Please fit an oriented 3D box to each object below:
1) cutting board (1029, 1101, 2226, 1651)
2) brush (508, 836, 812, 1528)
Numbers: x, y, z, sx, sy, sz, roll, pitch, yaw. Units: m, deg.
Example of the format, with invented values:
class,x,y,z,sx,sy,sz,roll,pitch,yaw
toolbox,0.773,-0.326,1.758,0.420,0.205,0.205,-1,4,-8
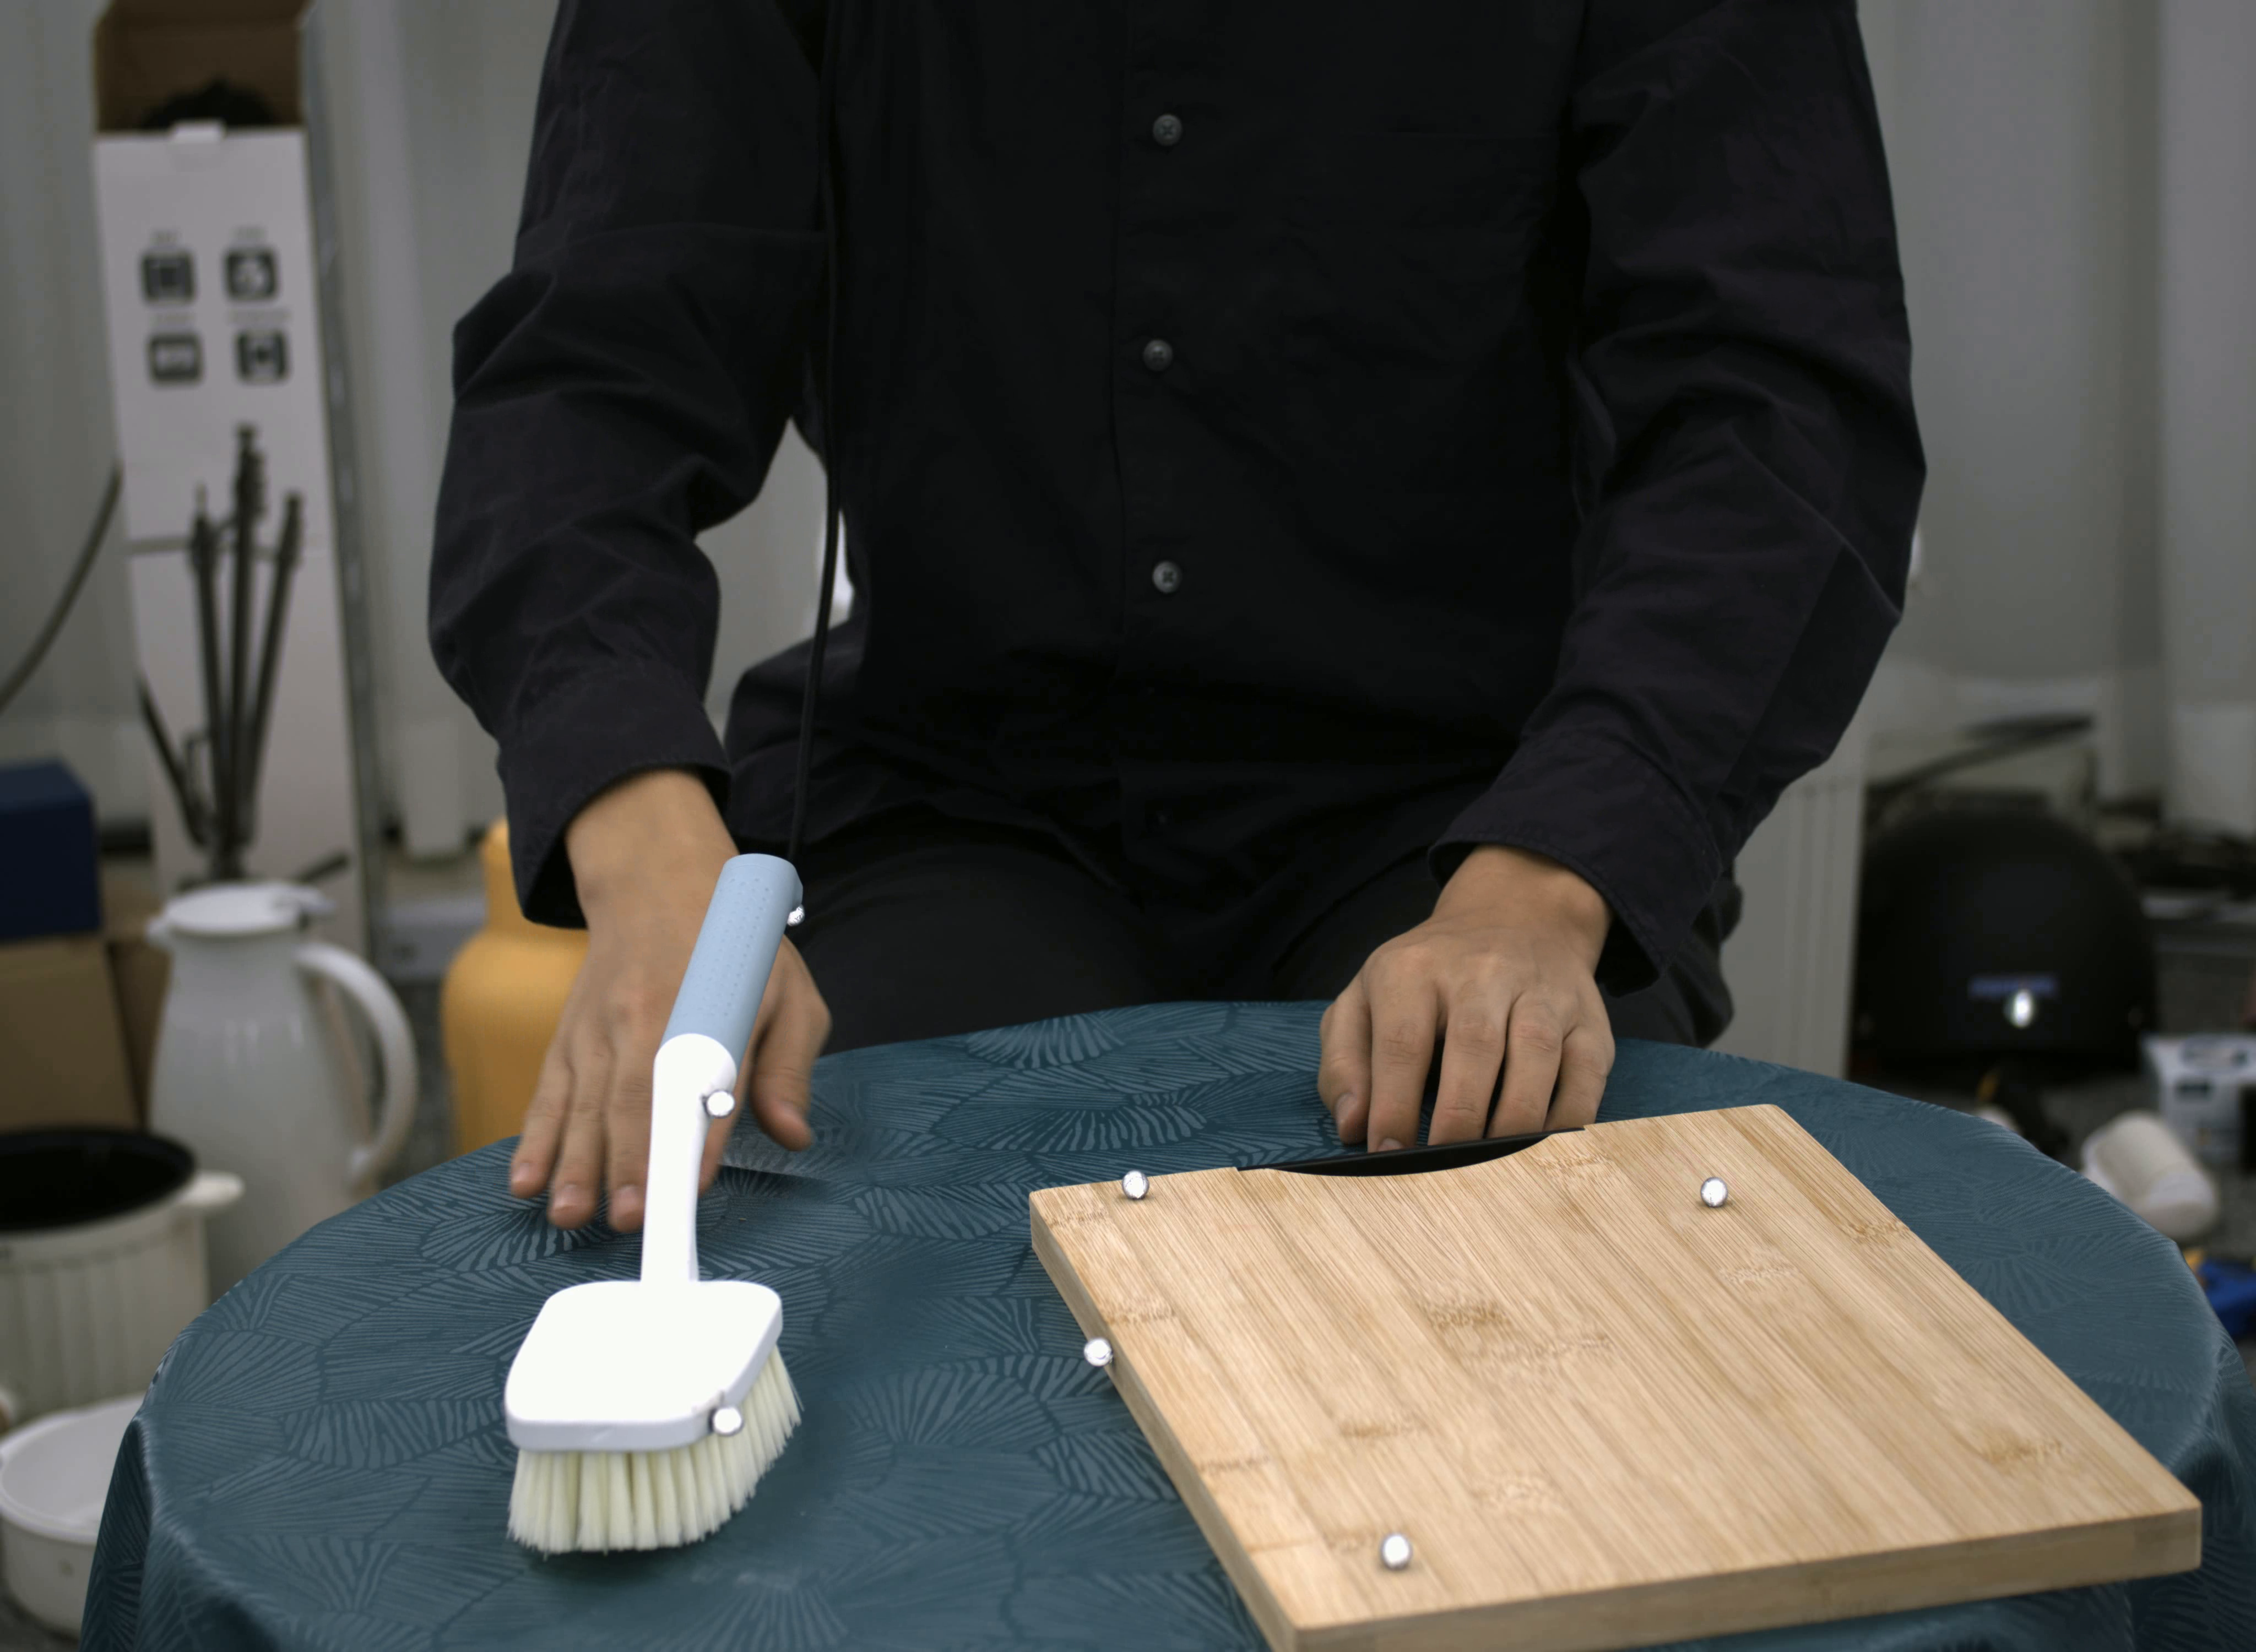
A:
class,x,y,z,sx,sy,sz,roll,pitch,yaw
cutting board,0.124,0.150,1.530,0.249,0.023,0.351,-6,16,-13
brush,-0.119,0.114,1.585,0.082,0.084,0.329,32,26,-10
